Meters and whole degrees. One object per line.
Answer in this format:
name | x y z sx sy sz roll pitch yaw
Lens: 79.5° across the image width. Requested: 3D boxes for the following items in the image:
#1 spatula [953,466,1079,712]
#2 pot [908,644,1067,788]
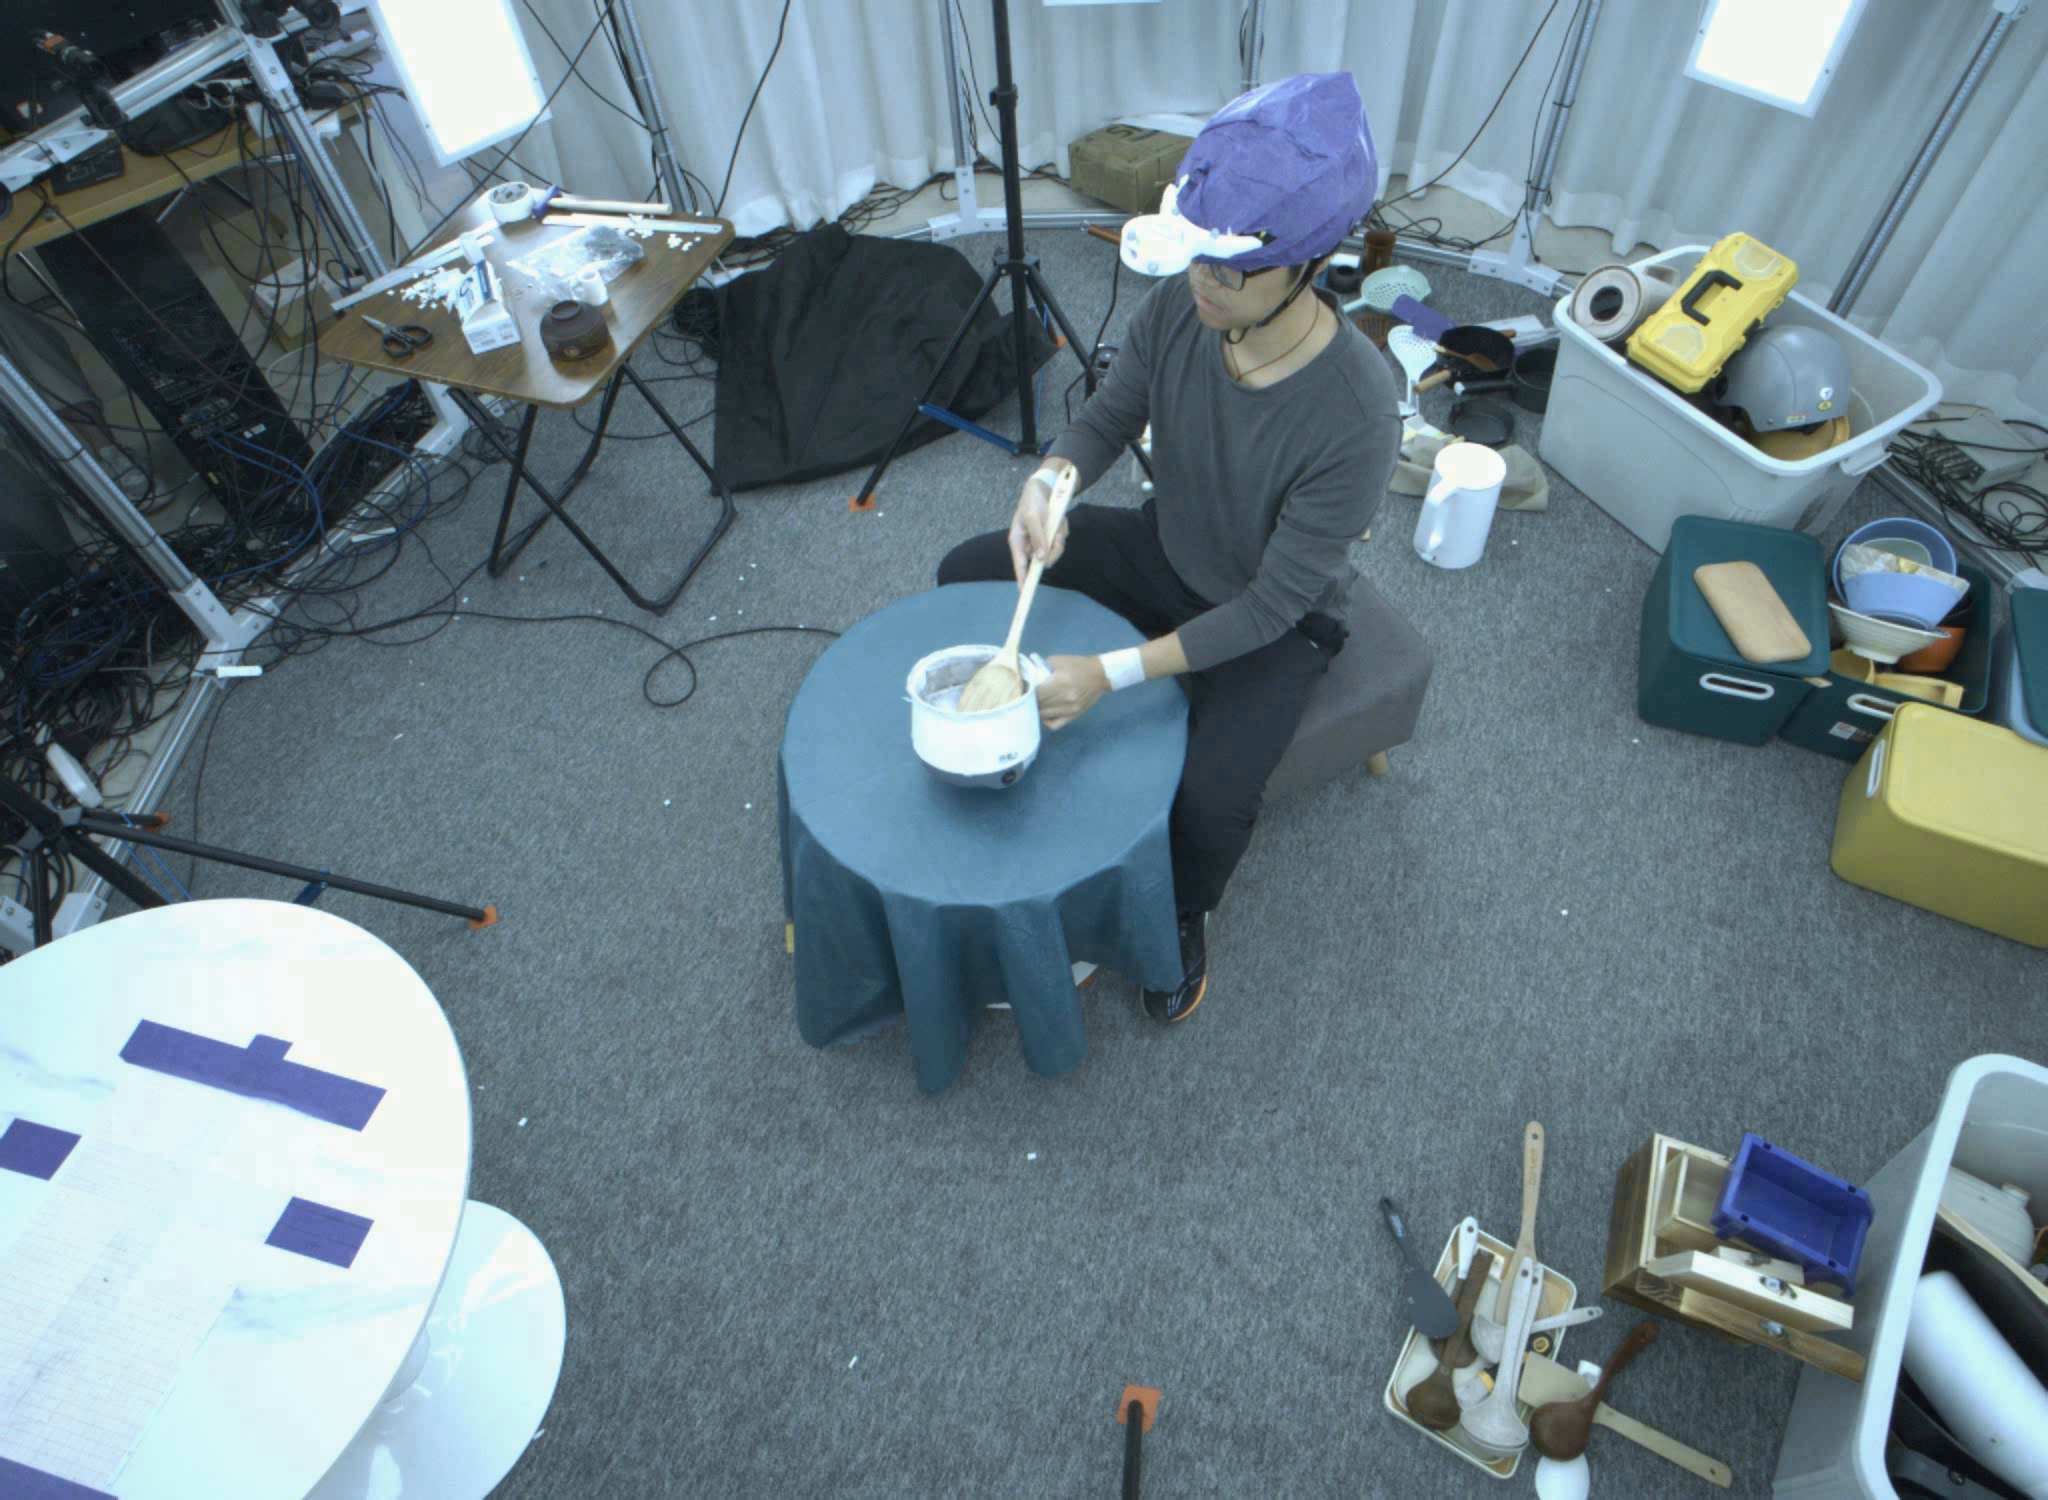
spatula | 0.000 -0.216 1.709 0.094 0.019 0.390 19 90 27
pot | -0.044 -0.056 1.711 0.237 0.138 0.174 -22 42 -27
